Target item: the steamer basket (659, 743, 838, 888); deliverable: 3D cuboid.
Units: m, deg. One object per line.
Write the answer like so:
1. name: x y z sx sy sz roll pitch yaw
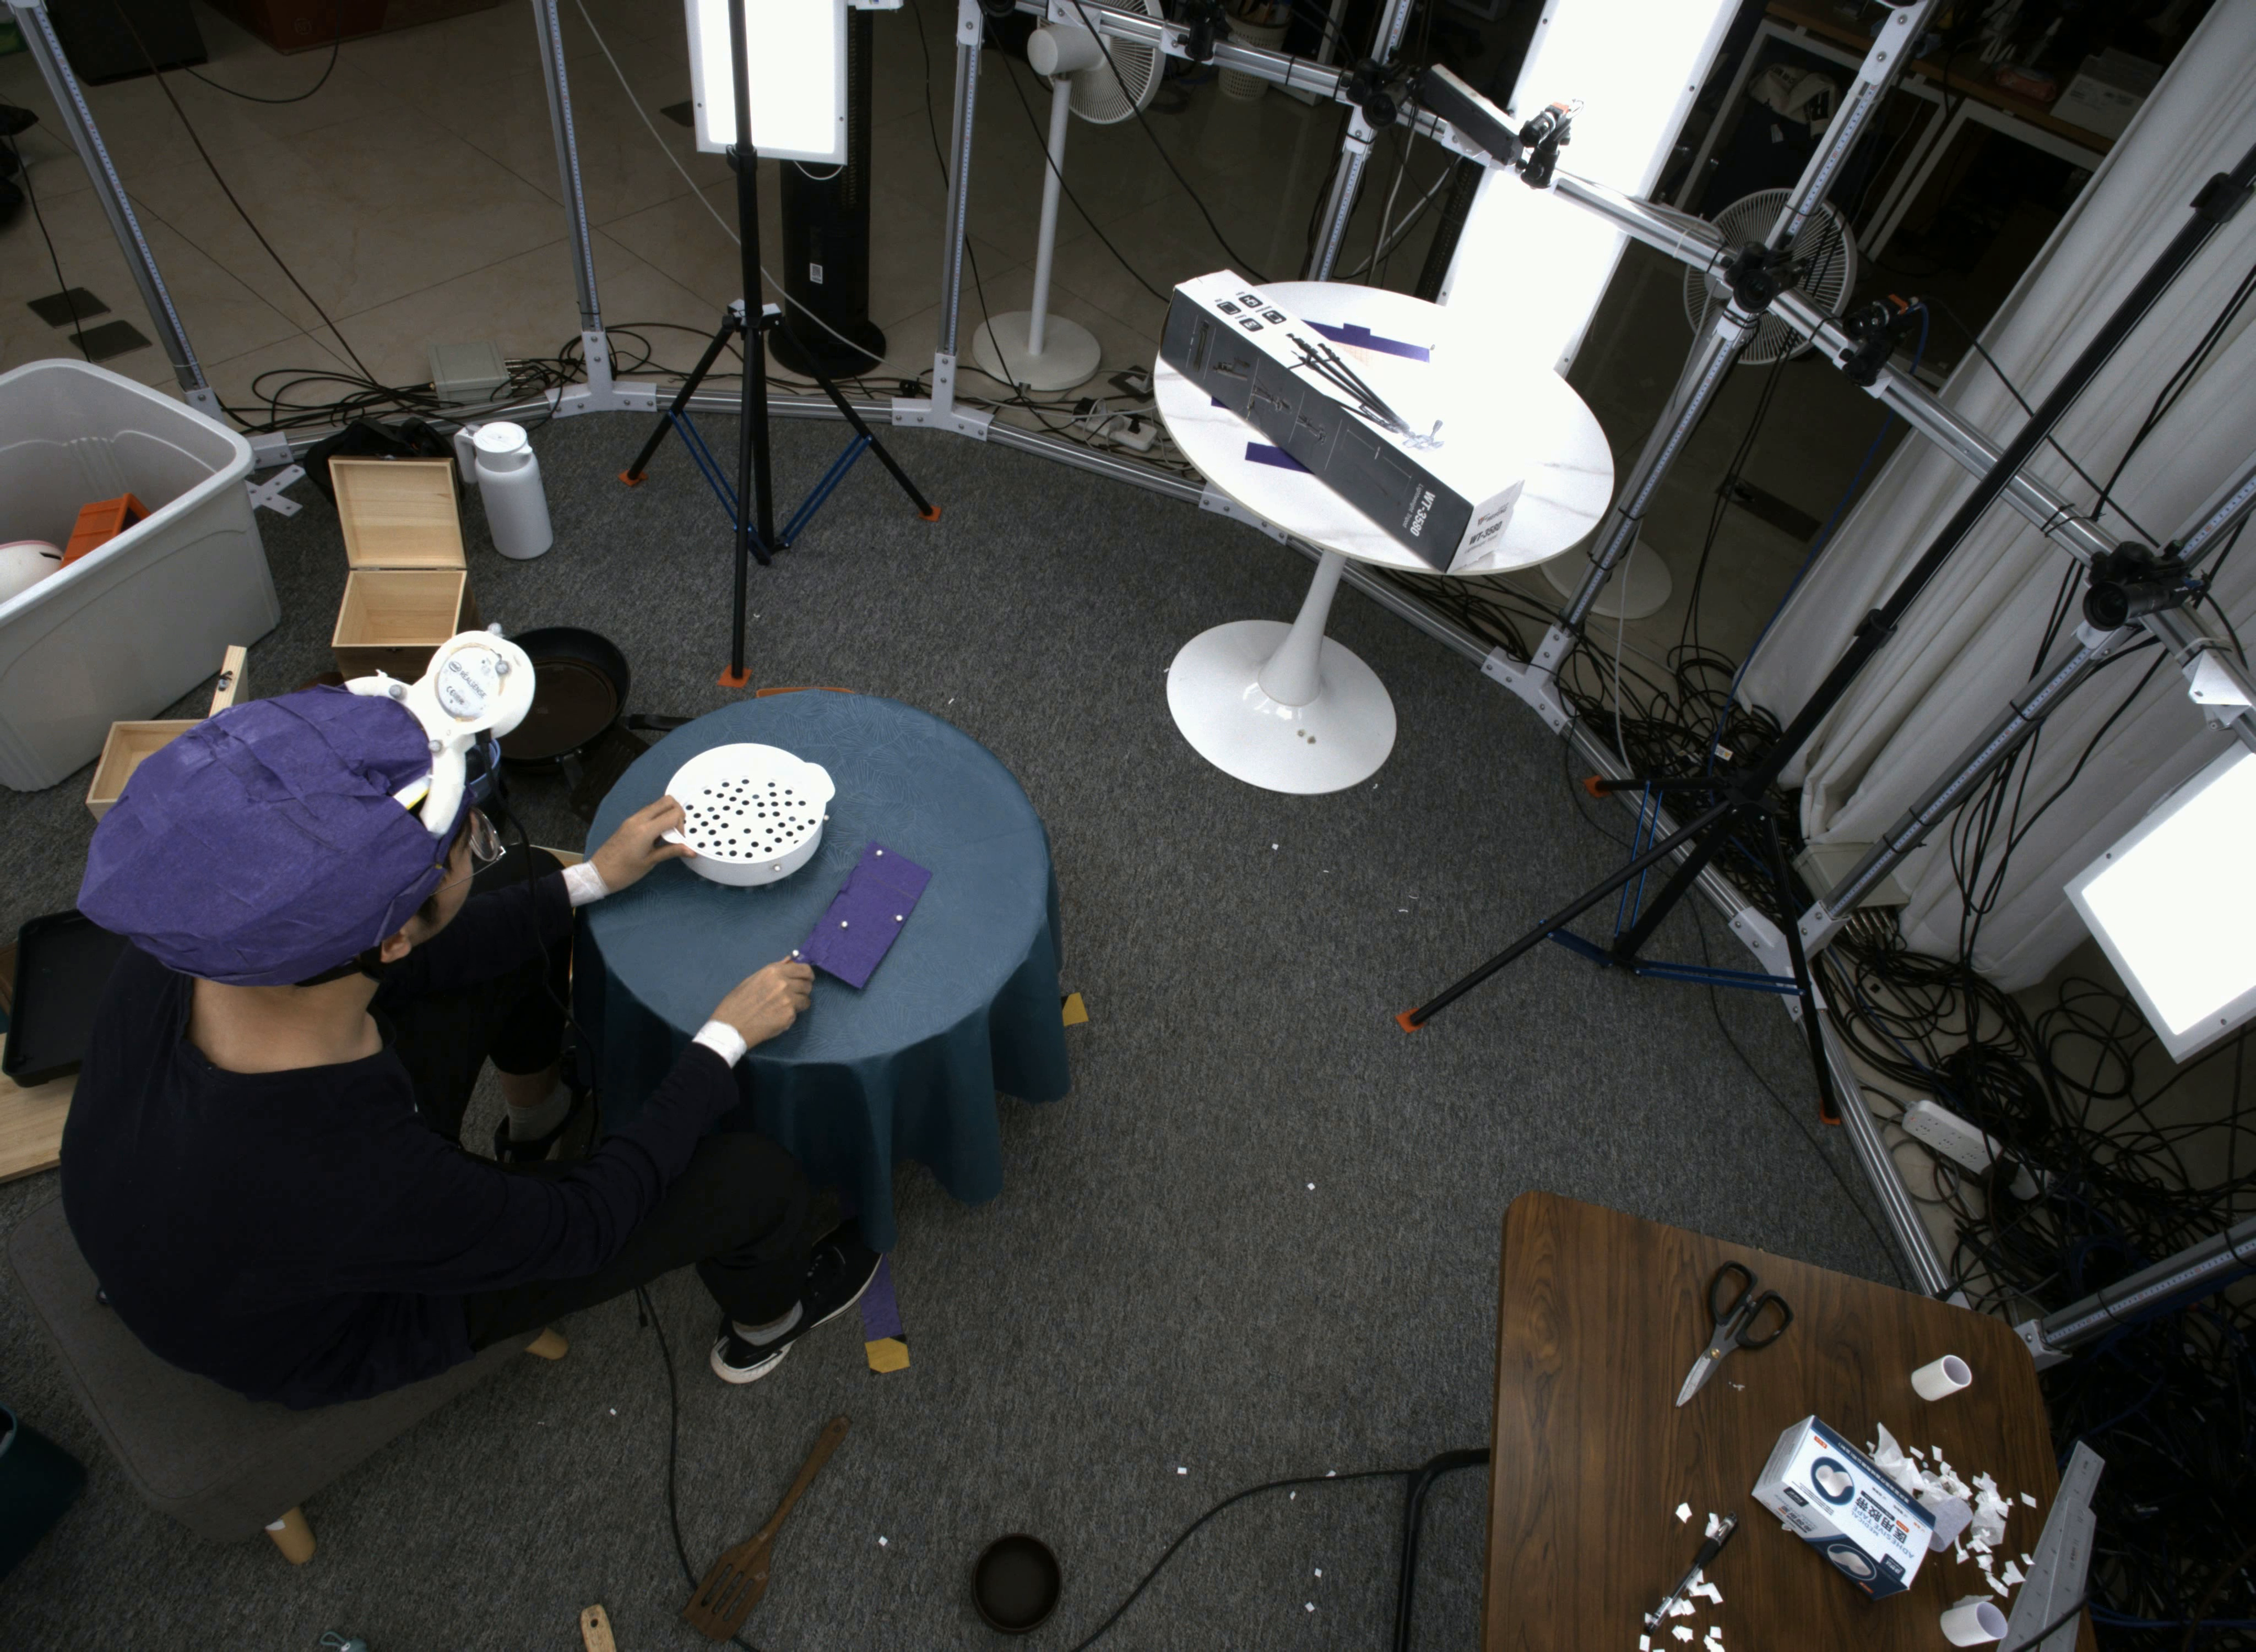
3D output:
1. steamer basket: -0.490 -0.014 1.683 0.231 0.071 0.196 -20 58 -25

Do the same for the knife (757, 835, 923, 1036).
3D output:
1. knife: -0.349 0.140 1.621 0.104 0.032 0.312 29 51 -6
